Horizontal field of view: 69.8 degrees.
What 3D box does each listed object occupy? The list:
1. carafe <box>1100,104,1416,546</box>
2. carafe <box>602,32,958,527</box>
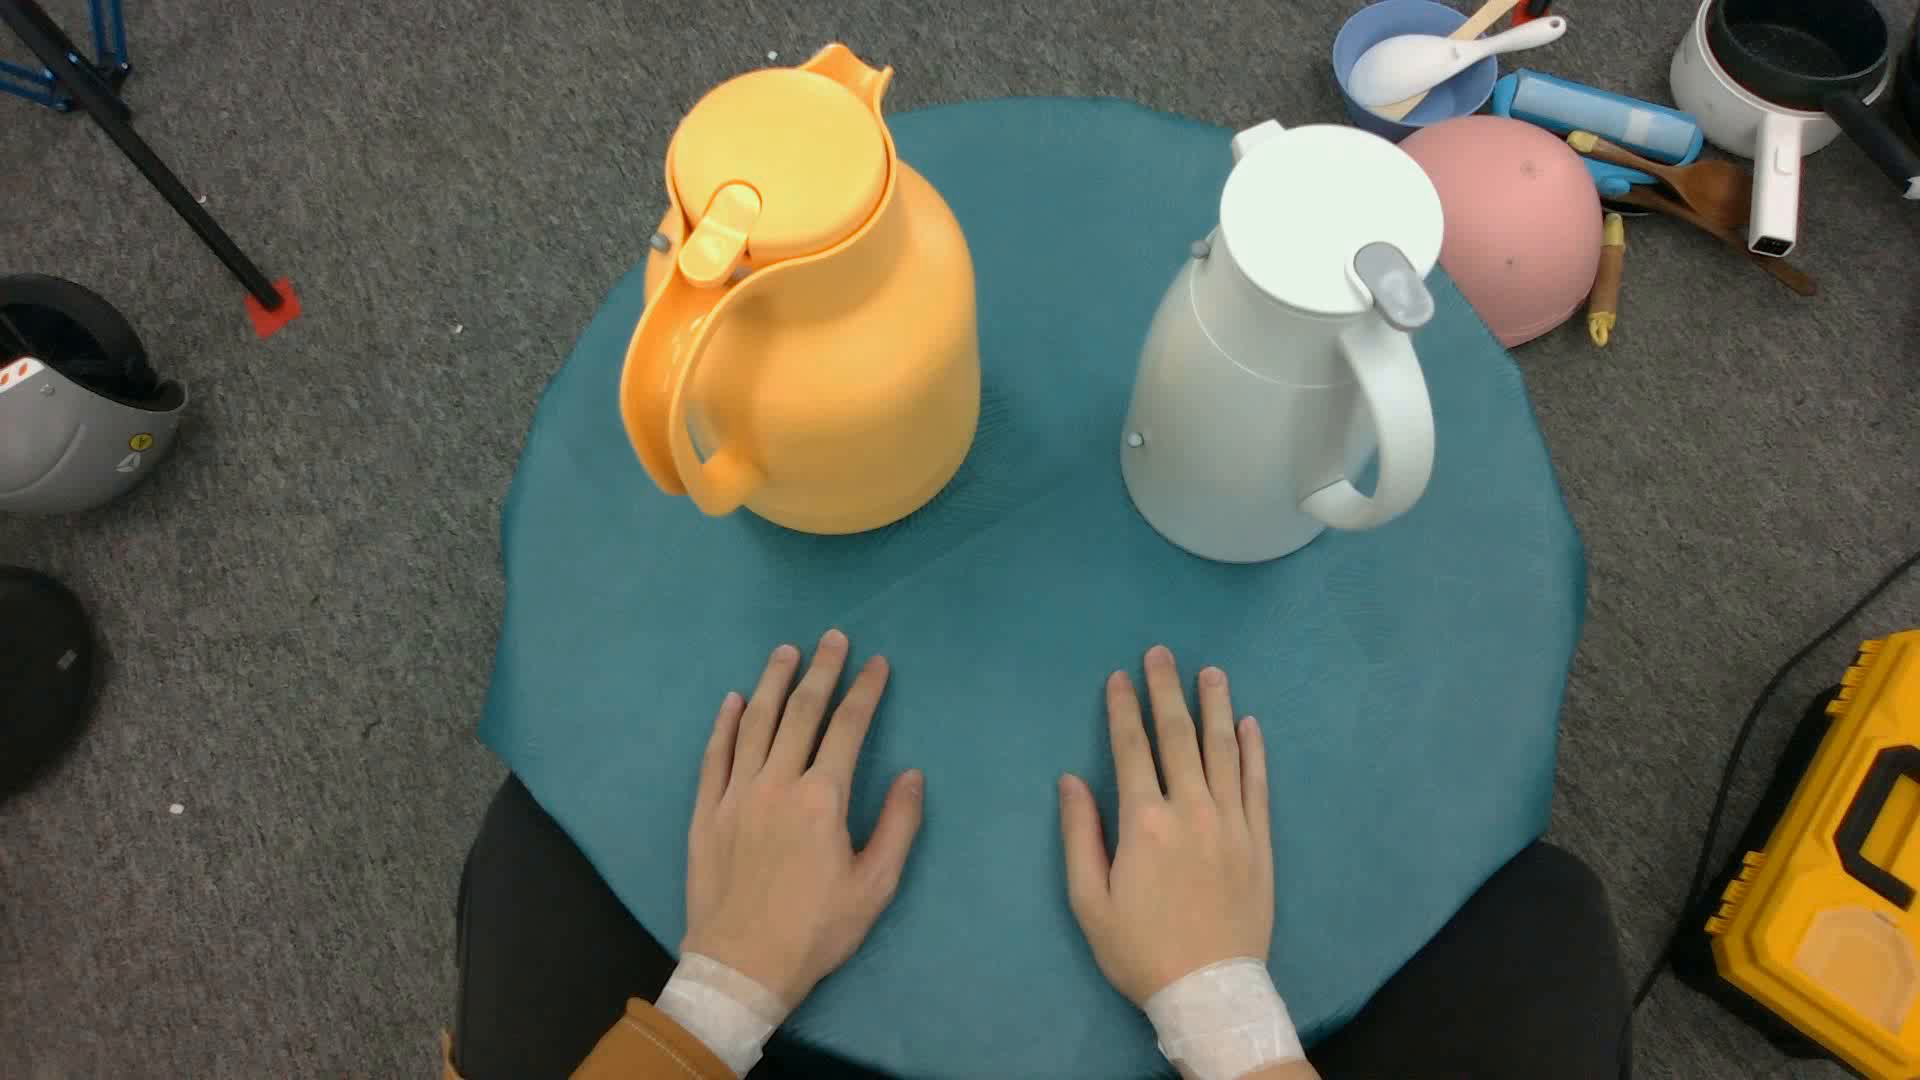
[{"bbox_3d":[0.155,-0.085,0.676,0.133,0.248,0.168,-24,71,-9],"label":"carafe"},{"bbox_3d":[-0.093,-0.106,0.677,0.163,0.259,0.203,28,70,12],"label":"carafe"}]
